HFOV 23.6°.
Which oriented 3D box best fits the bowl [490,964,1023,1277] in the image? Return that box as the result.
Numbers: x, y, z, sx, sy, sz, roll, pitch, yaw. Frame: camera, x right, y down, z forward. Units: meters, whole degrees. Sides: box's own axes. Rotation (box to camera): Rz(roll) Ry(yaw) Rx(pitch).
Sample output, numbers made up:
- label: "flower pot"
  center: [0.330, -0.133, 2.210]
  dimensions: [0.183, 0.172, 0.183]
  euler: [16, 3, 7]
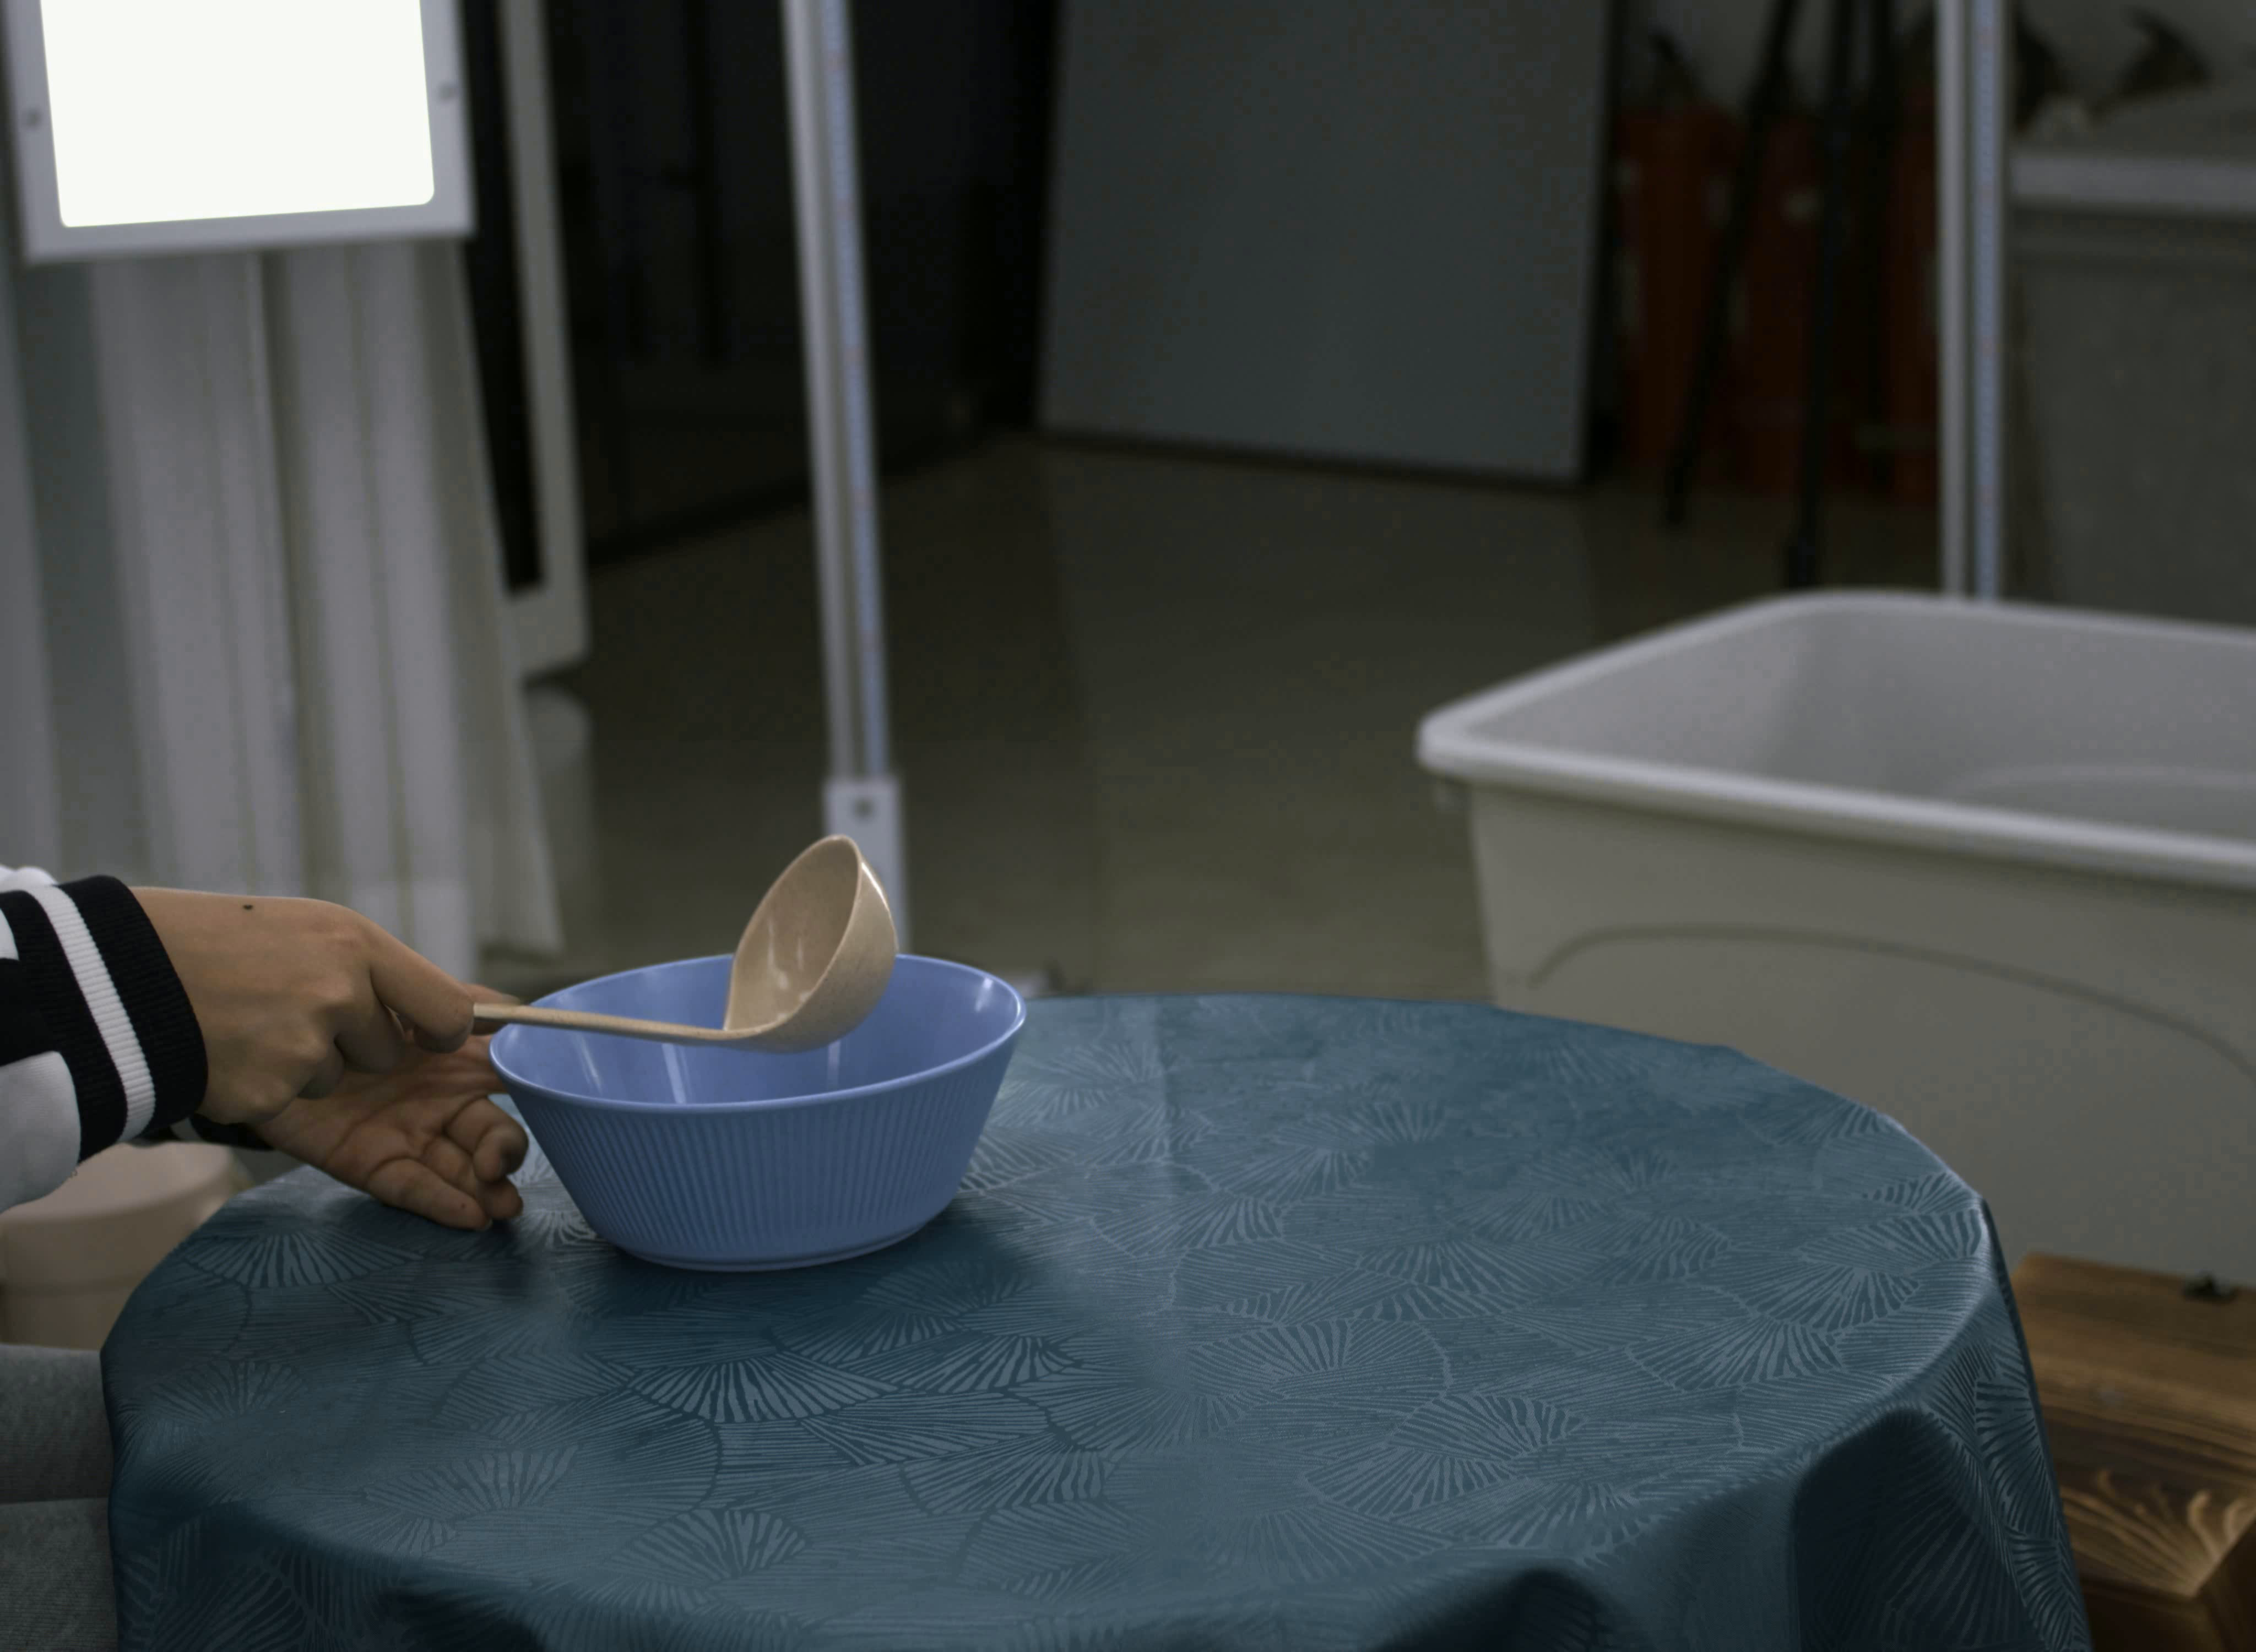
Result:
- label: "bowl"
  center: [-0.118, 0.097, 1.756]
  dimensions: [0.174, 0.071, 0.176]
  euler: [-4, 13, 0]

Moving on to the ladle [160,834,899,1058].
- label: "ladle"
  center: [-0.185, 0.034, 1.681]
  dimensions: [0.248, 0.074, 0.073]
  euler: [4, -11, -35]
